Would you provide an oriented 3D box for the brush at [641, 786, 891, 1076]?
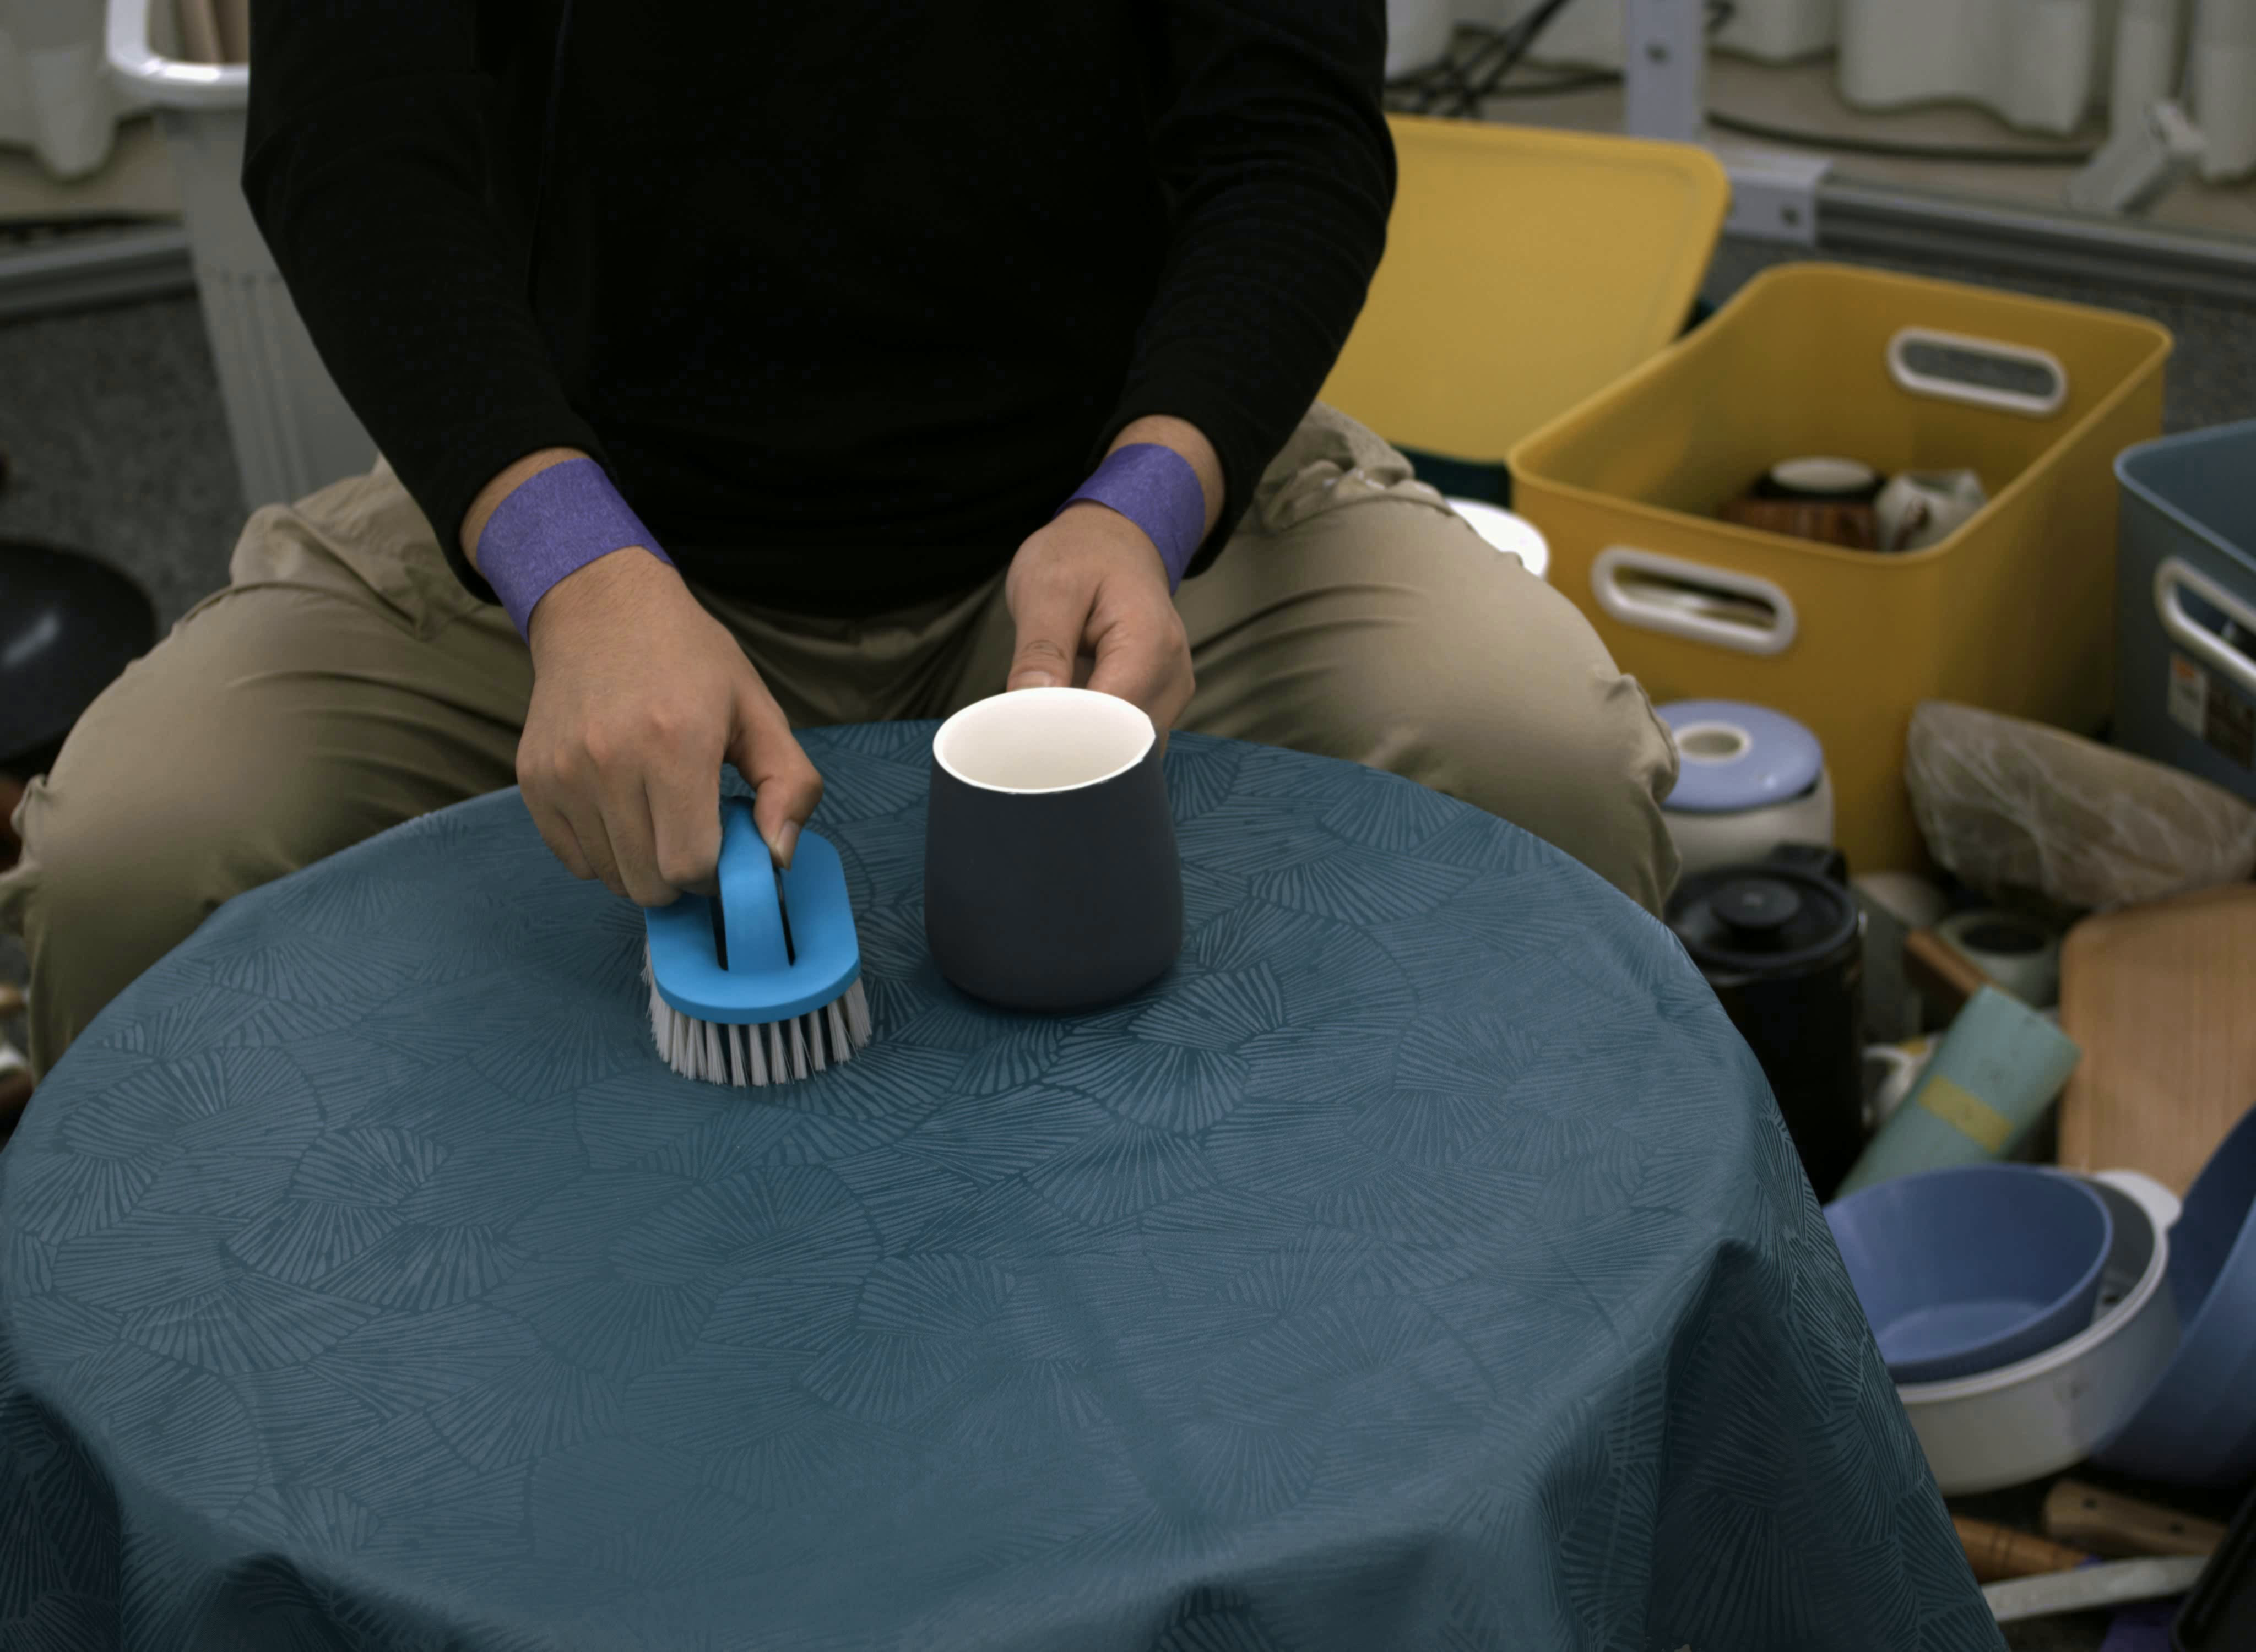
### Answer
[{"bbox_3d":[-0.131,0.028,1.983,0.084,0.063,0.144,-9,27,-2],"label":"brush"}]

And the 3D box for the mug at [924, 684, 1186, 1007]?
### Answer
[{"bbox_3d":[-0.027,0.000,1.997,0.093,0.089,0.125,-3,28,0],"label":"mug"}]
